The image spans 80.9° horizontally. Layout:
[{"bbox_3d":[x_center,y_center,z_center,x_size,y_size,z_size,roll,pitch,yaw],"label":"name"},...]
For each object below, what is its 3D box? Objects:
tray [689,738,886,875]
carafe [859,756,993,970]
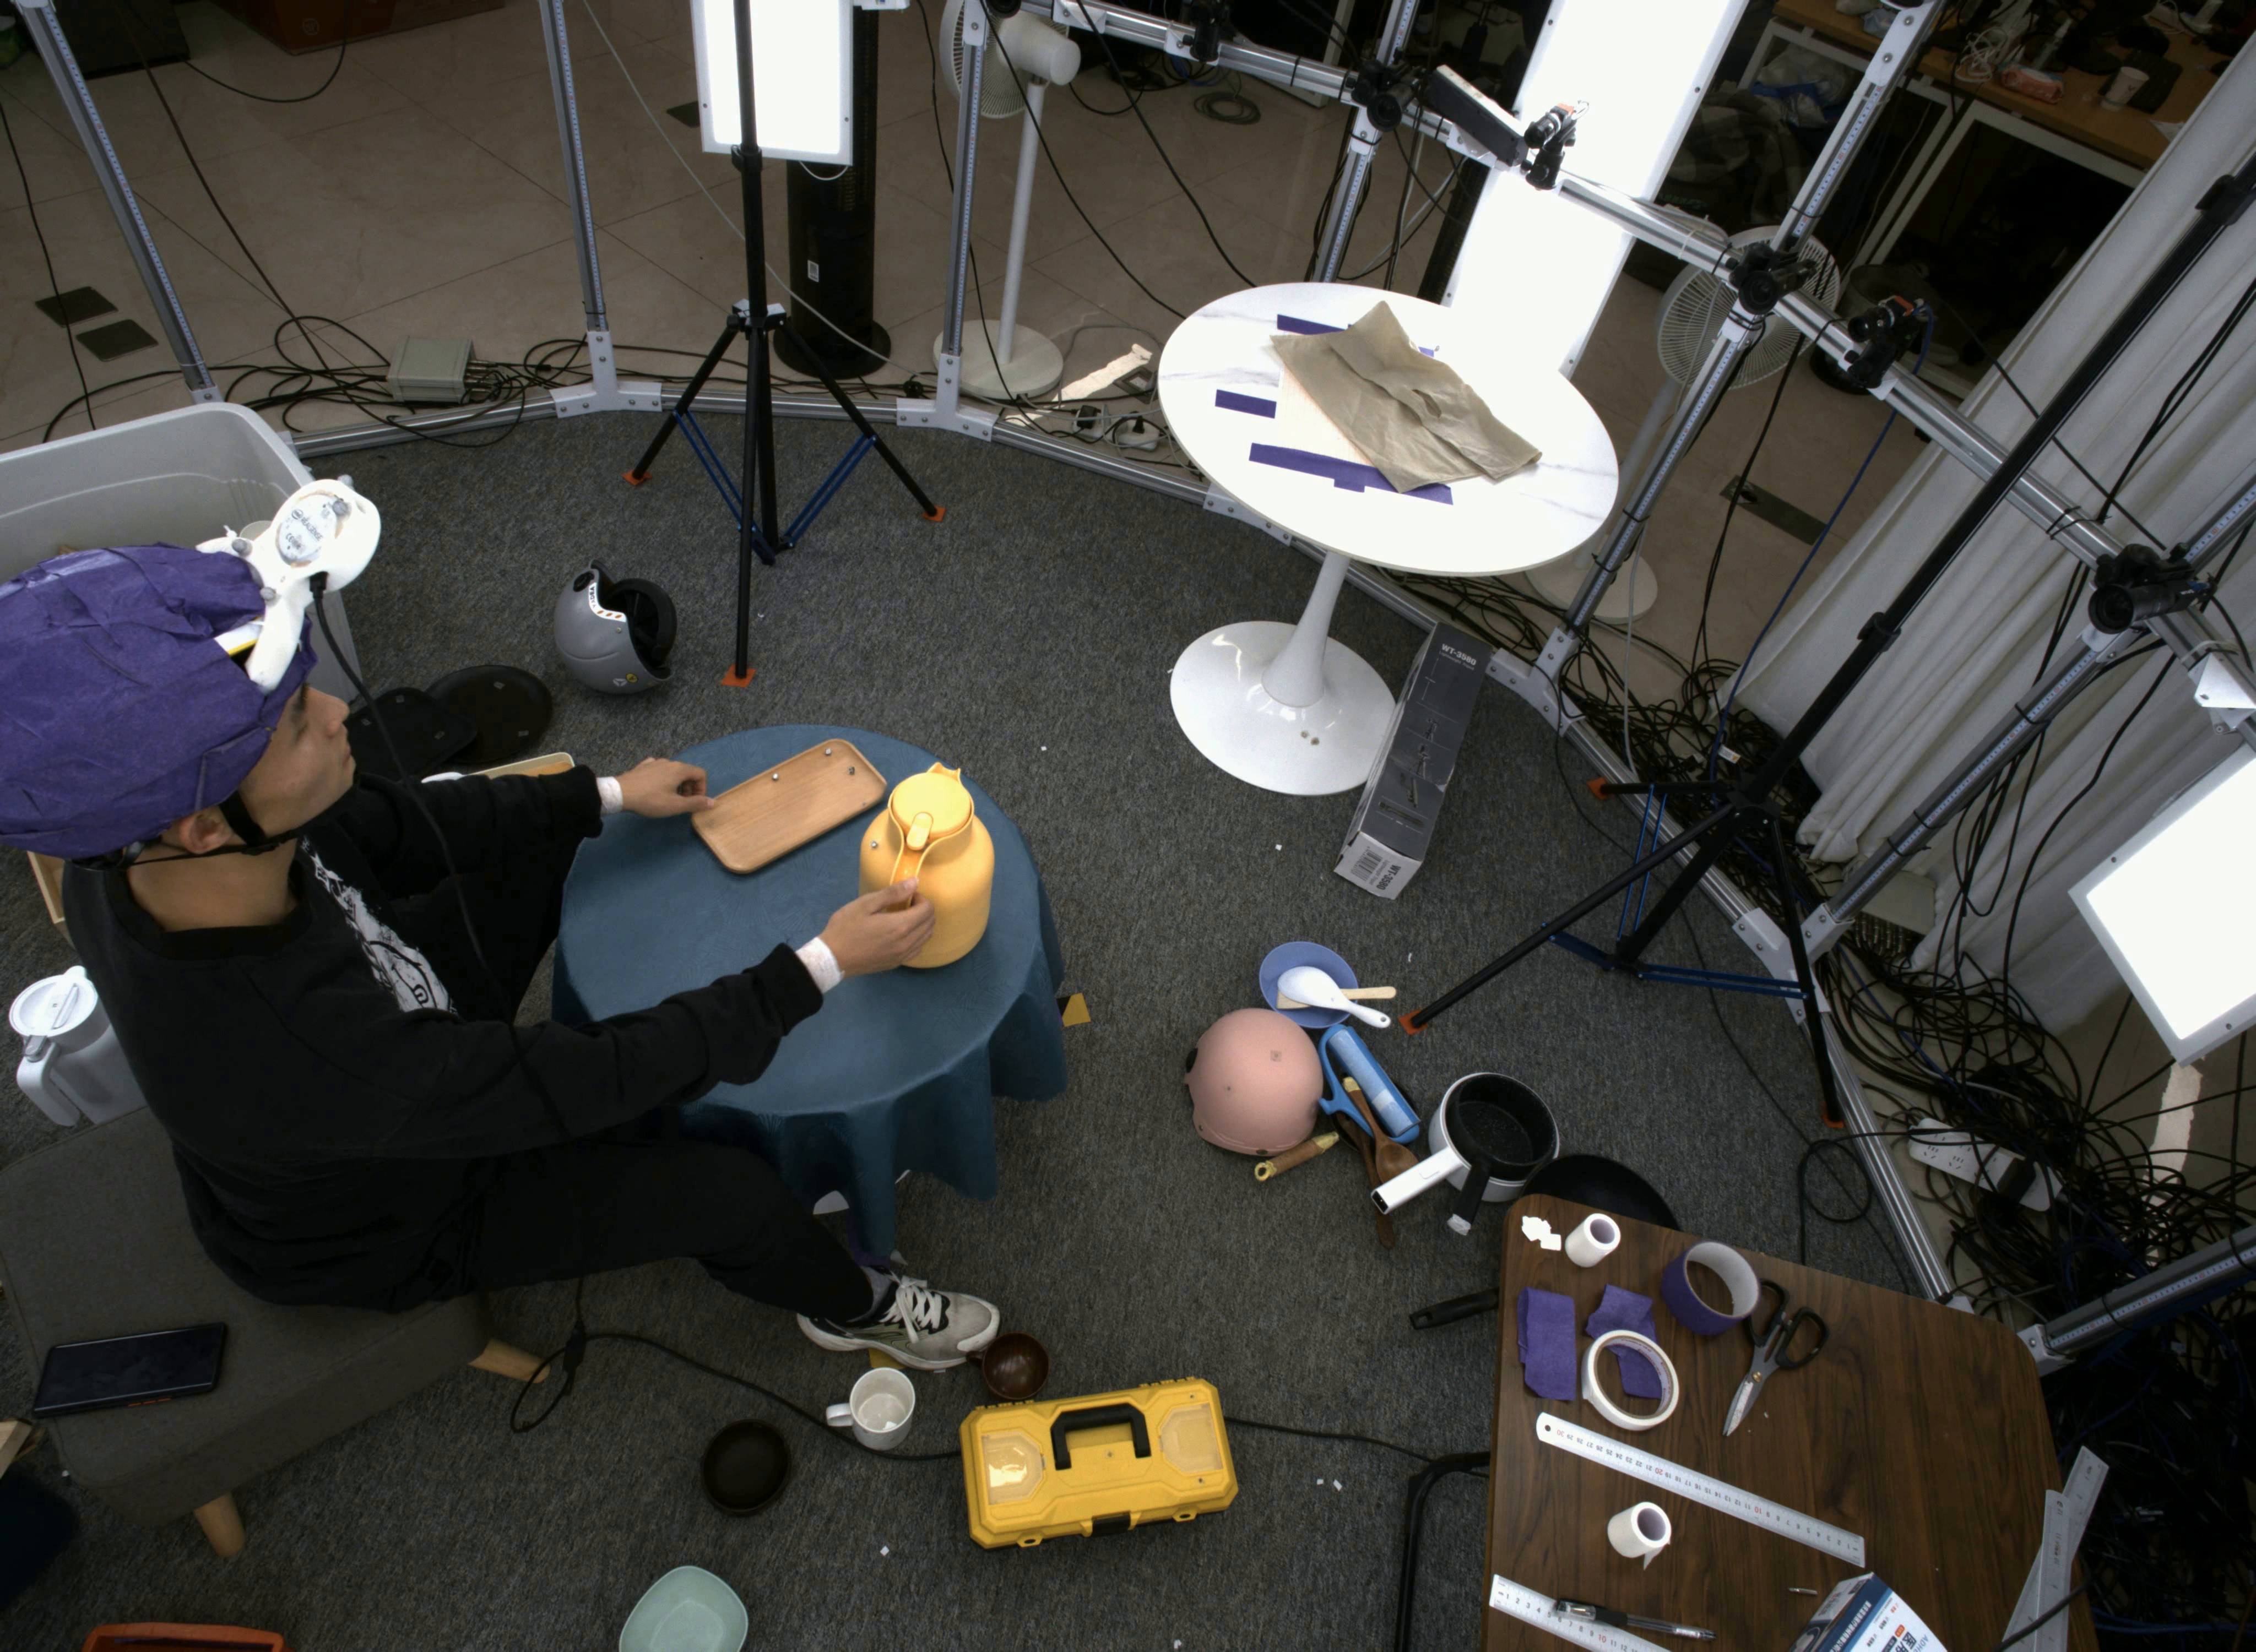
[{"bbox_3d":[-0.450,-0.029,1.725,0.251,0.023,0.127,-32,64,-31],"label":"tray"},{"bbox_3d":[-0.249,0.057,1.554,0.161,0.267,0.200,15,49,3],"label":"carafe"}]
